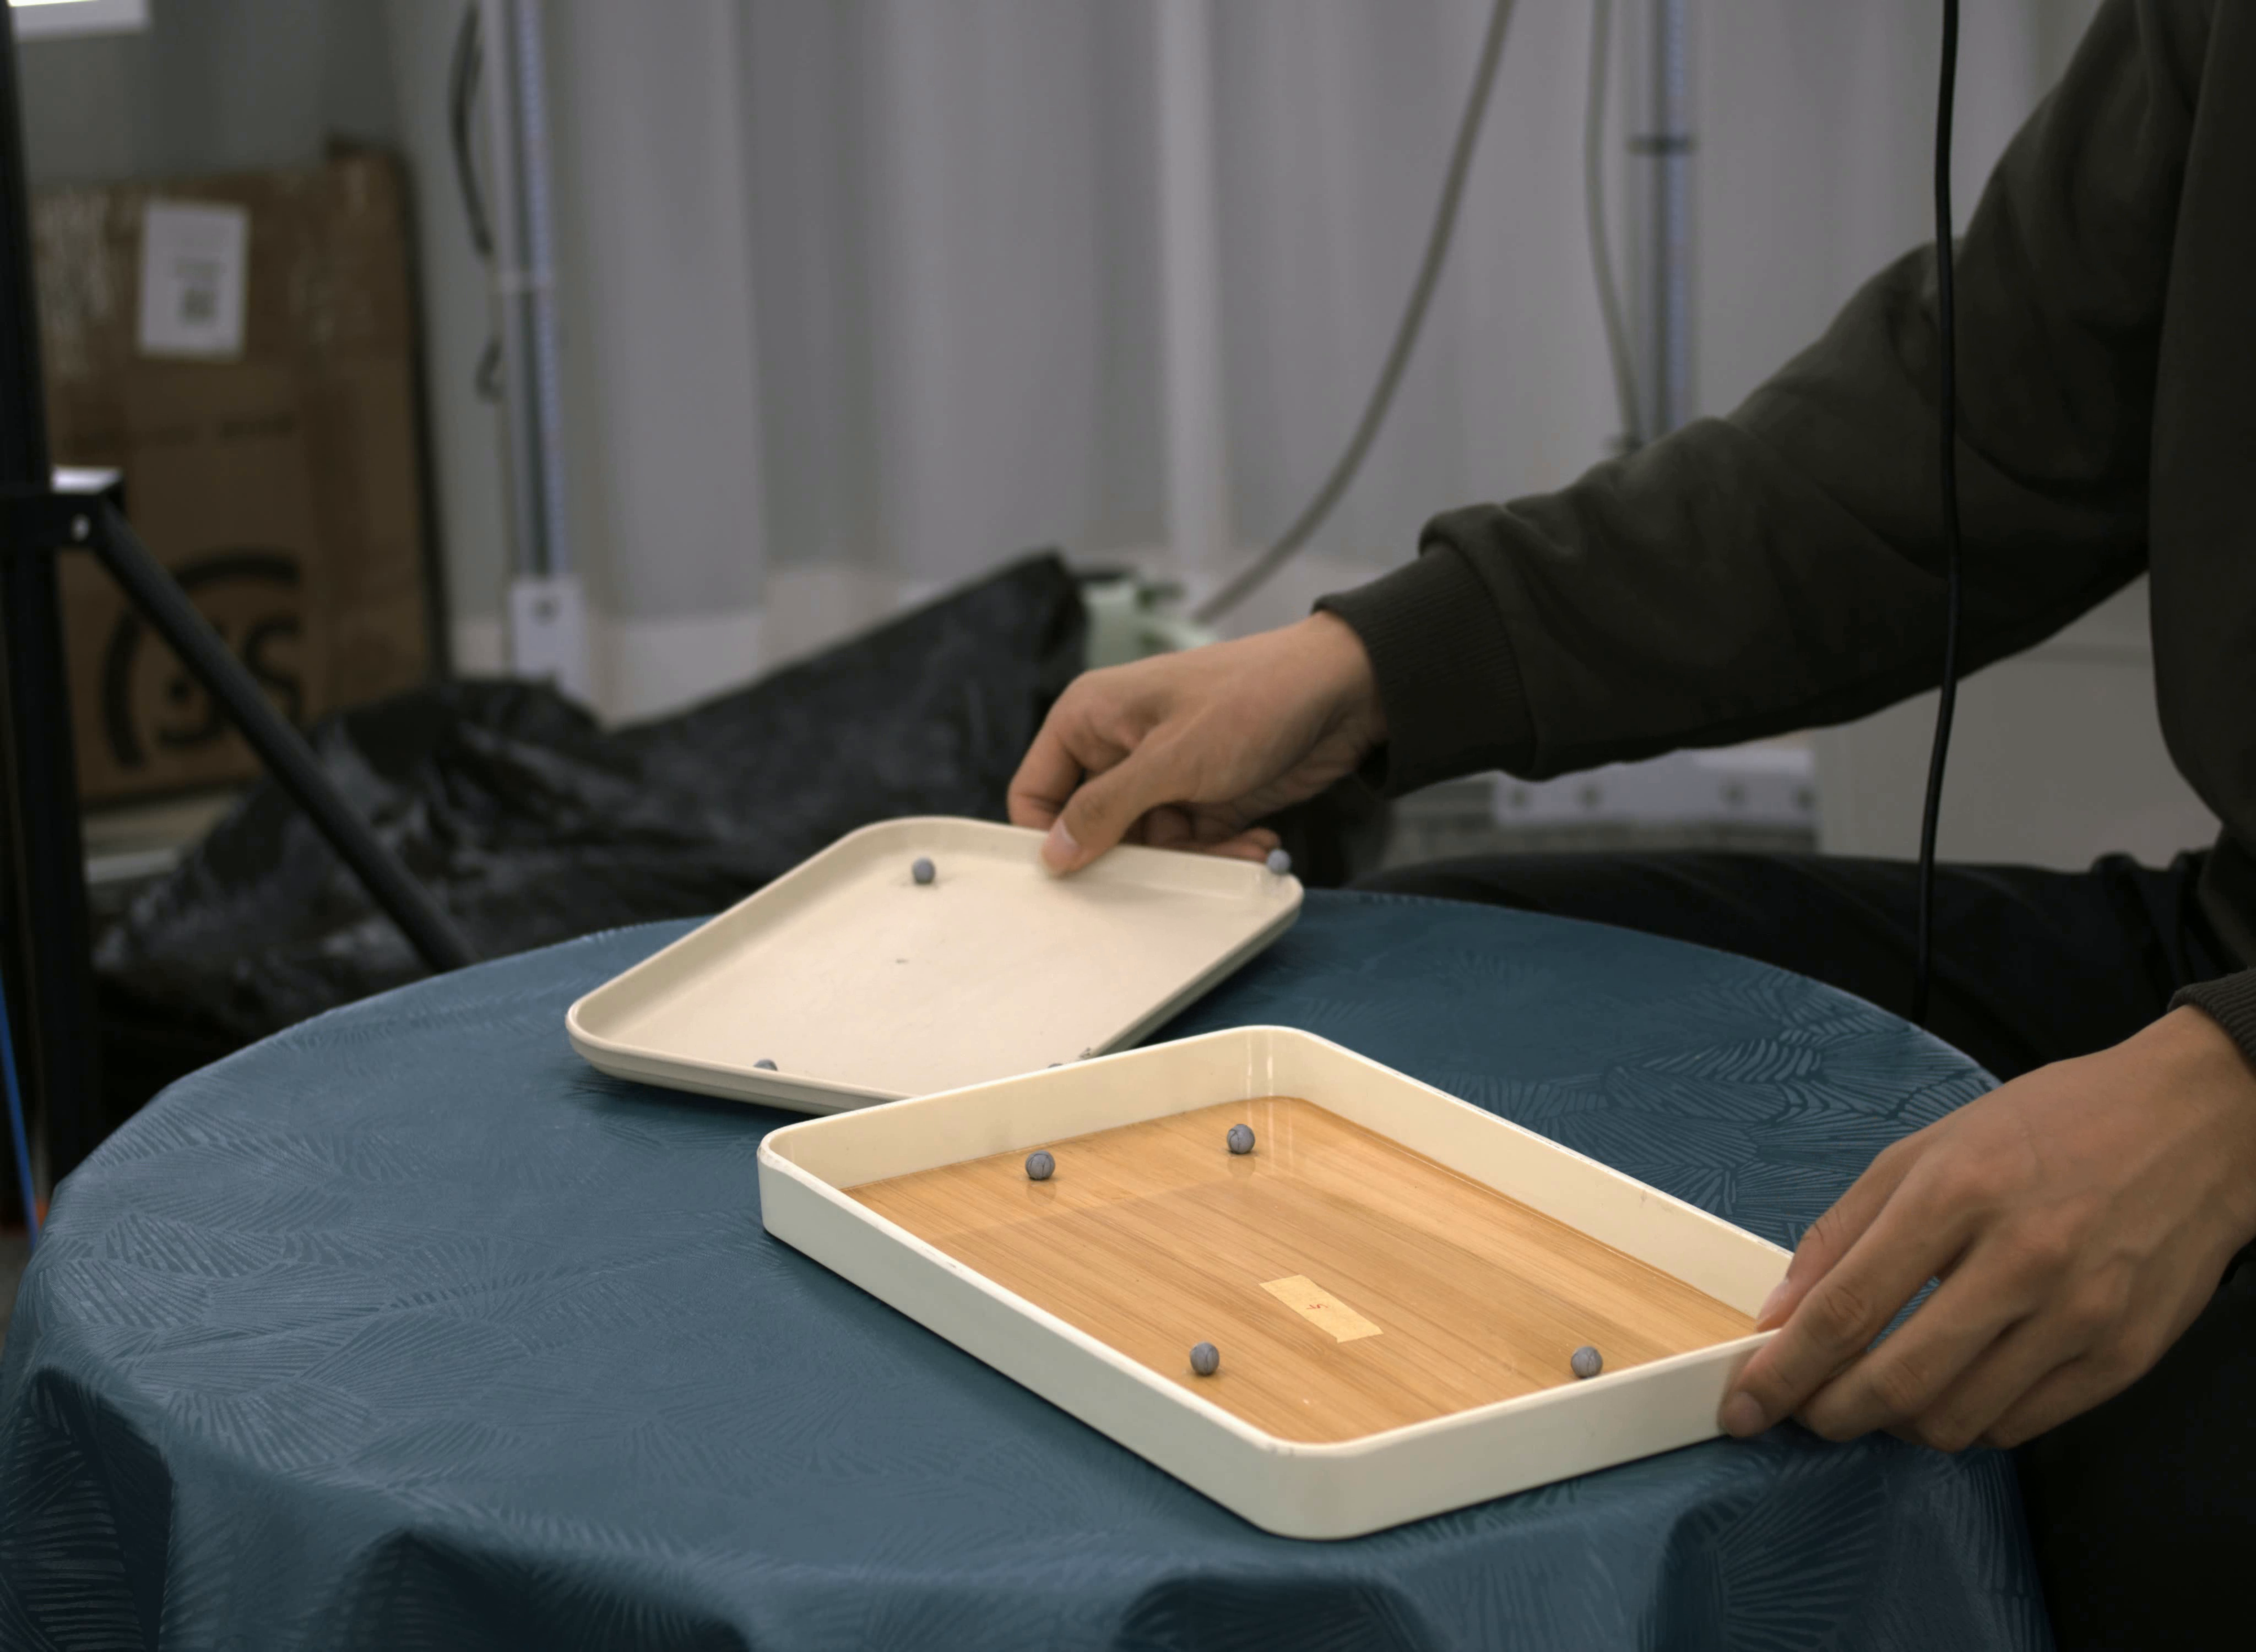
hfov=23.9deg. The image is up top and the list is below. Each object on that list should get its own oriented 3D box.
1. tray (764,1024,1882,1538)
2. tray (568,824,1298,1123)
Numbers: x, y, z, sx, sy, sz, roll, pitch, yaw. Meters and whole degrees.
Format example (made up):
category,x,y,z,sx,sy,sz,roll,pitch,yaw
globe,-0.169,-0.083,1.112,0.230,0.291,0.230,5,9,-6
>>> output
category,x,y,z,sx,sy,sz,roll,pitch,yaw
tray,0.047,0.120,1.464,0.187,0.027,0.307,-11,18,-29
tray,-0.059,0.048,1.729,0.174,0.017,0.236,7,20,26
